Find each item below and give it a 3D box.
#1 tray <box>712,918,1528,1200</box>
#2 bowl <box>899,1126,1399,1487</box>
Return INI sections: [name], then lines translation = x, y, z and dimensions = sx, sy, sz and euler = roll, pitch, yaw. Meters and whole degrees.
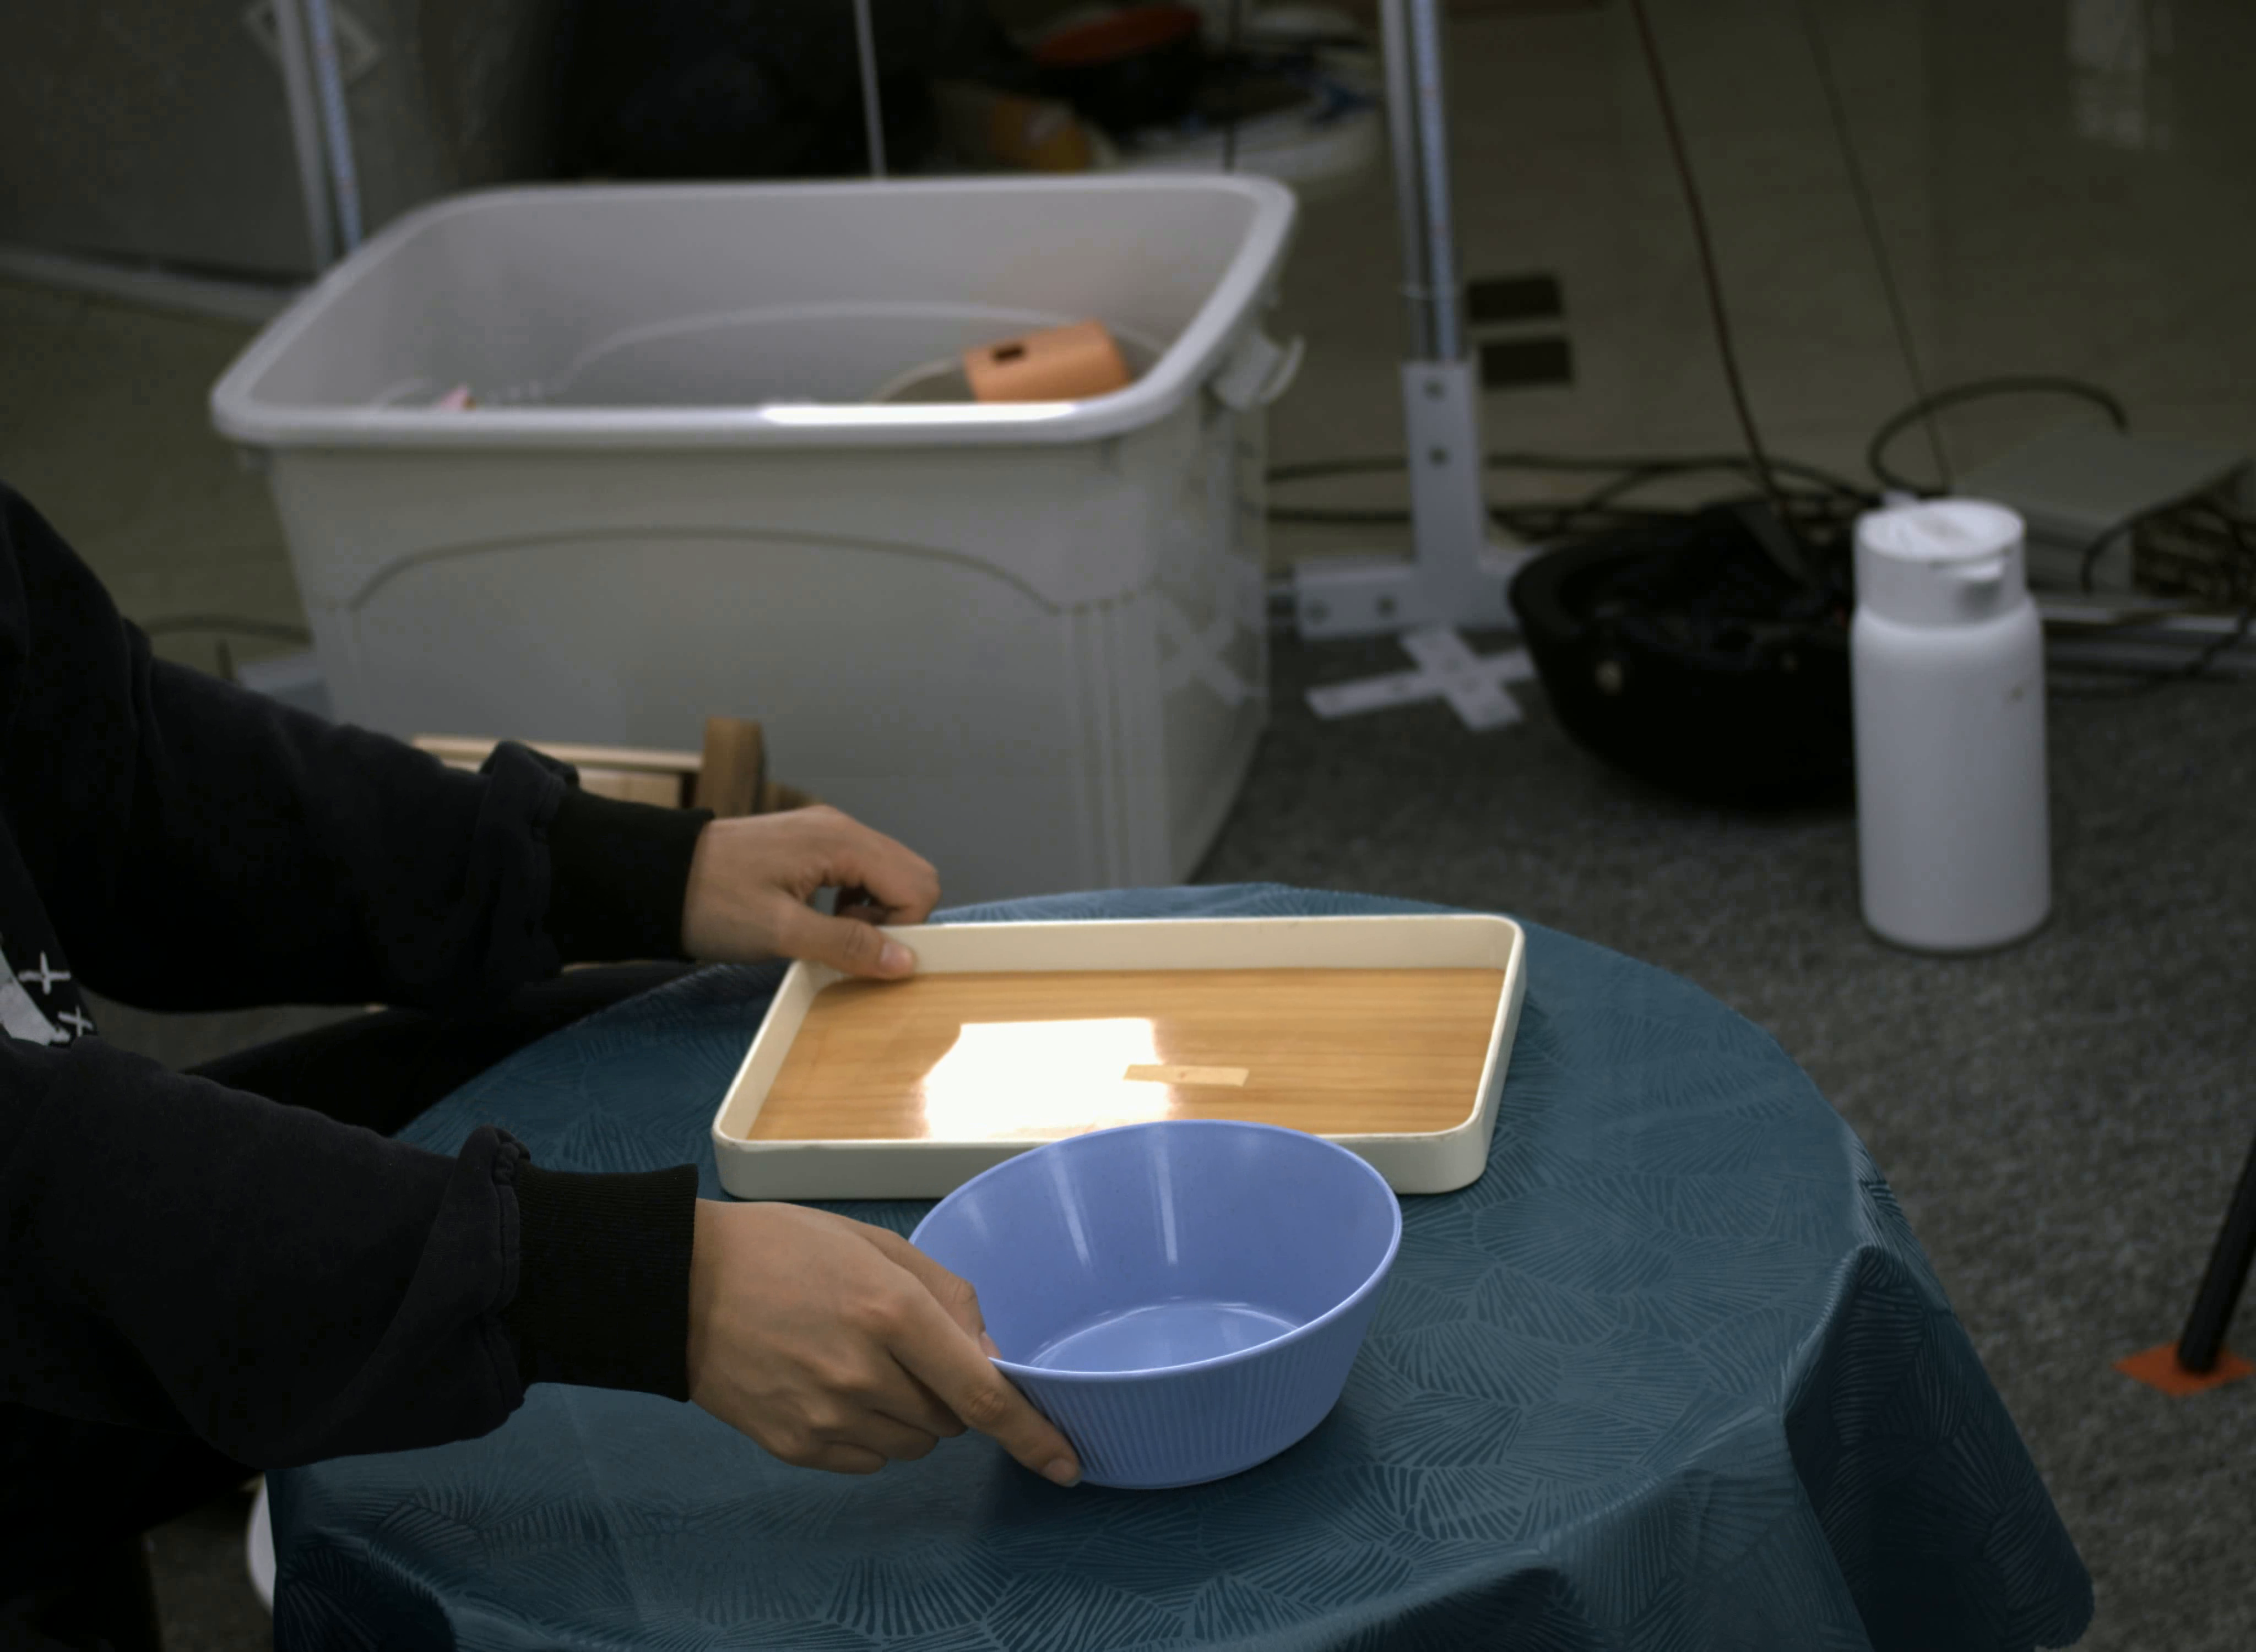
[tray]
translation = 0.000, 0.091, 2.225
dimensions = 0.300, 0.028, 0.189
euler = -1, 25, 11
[bowl]
translation = 0.010, 0.174, 1.986
dimensions = 0.176, 0.071, 0.173
euler = -6, 26, 3
